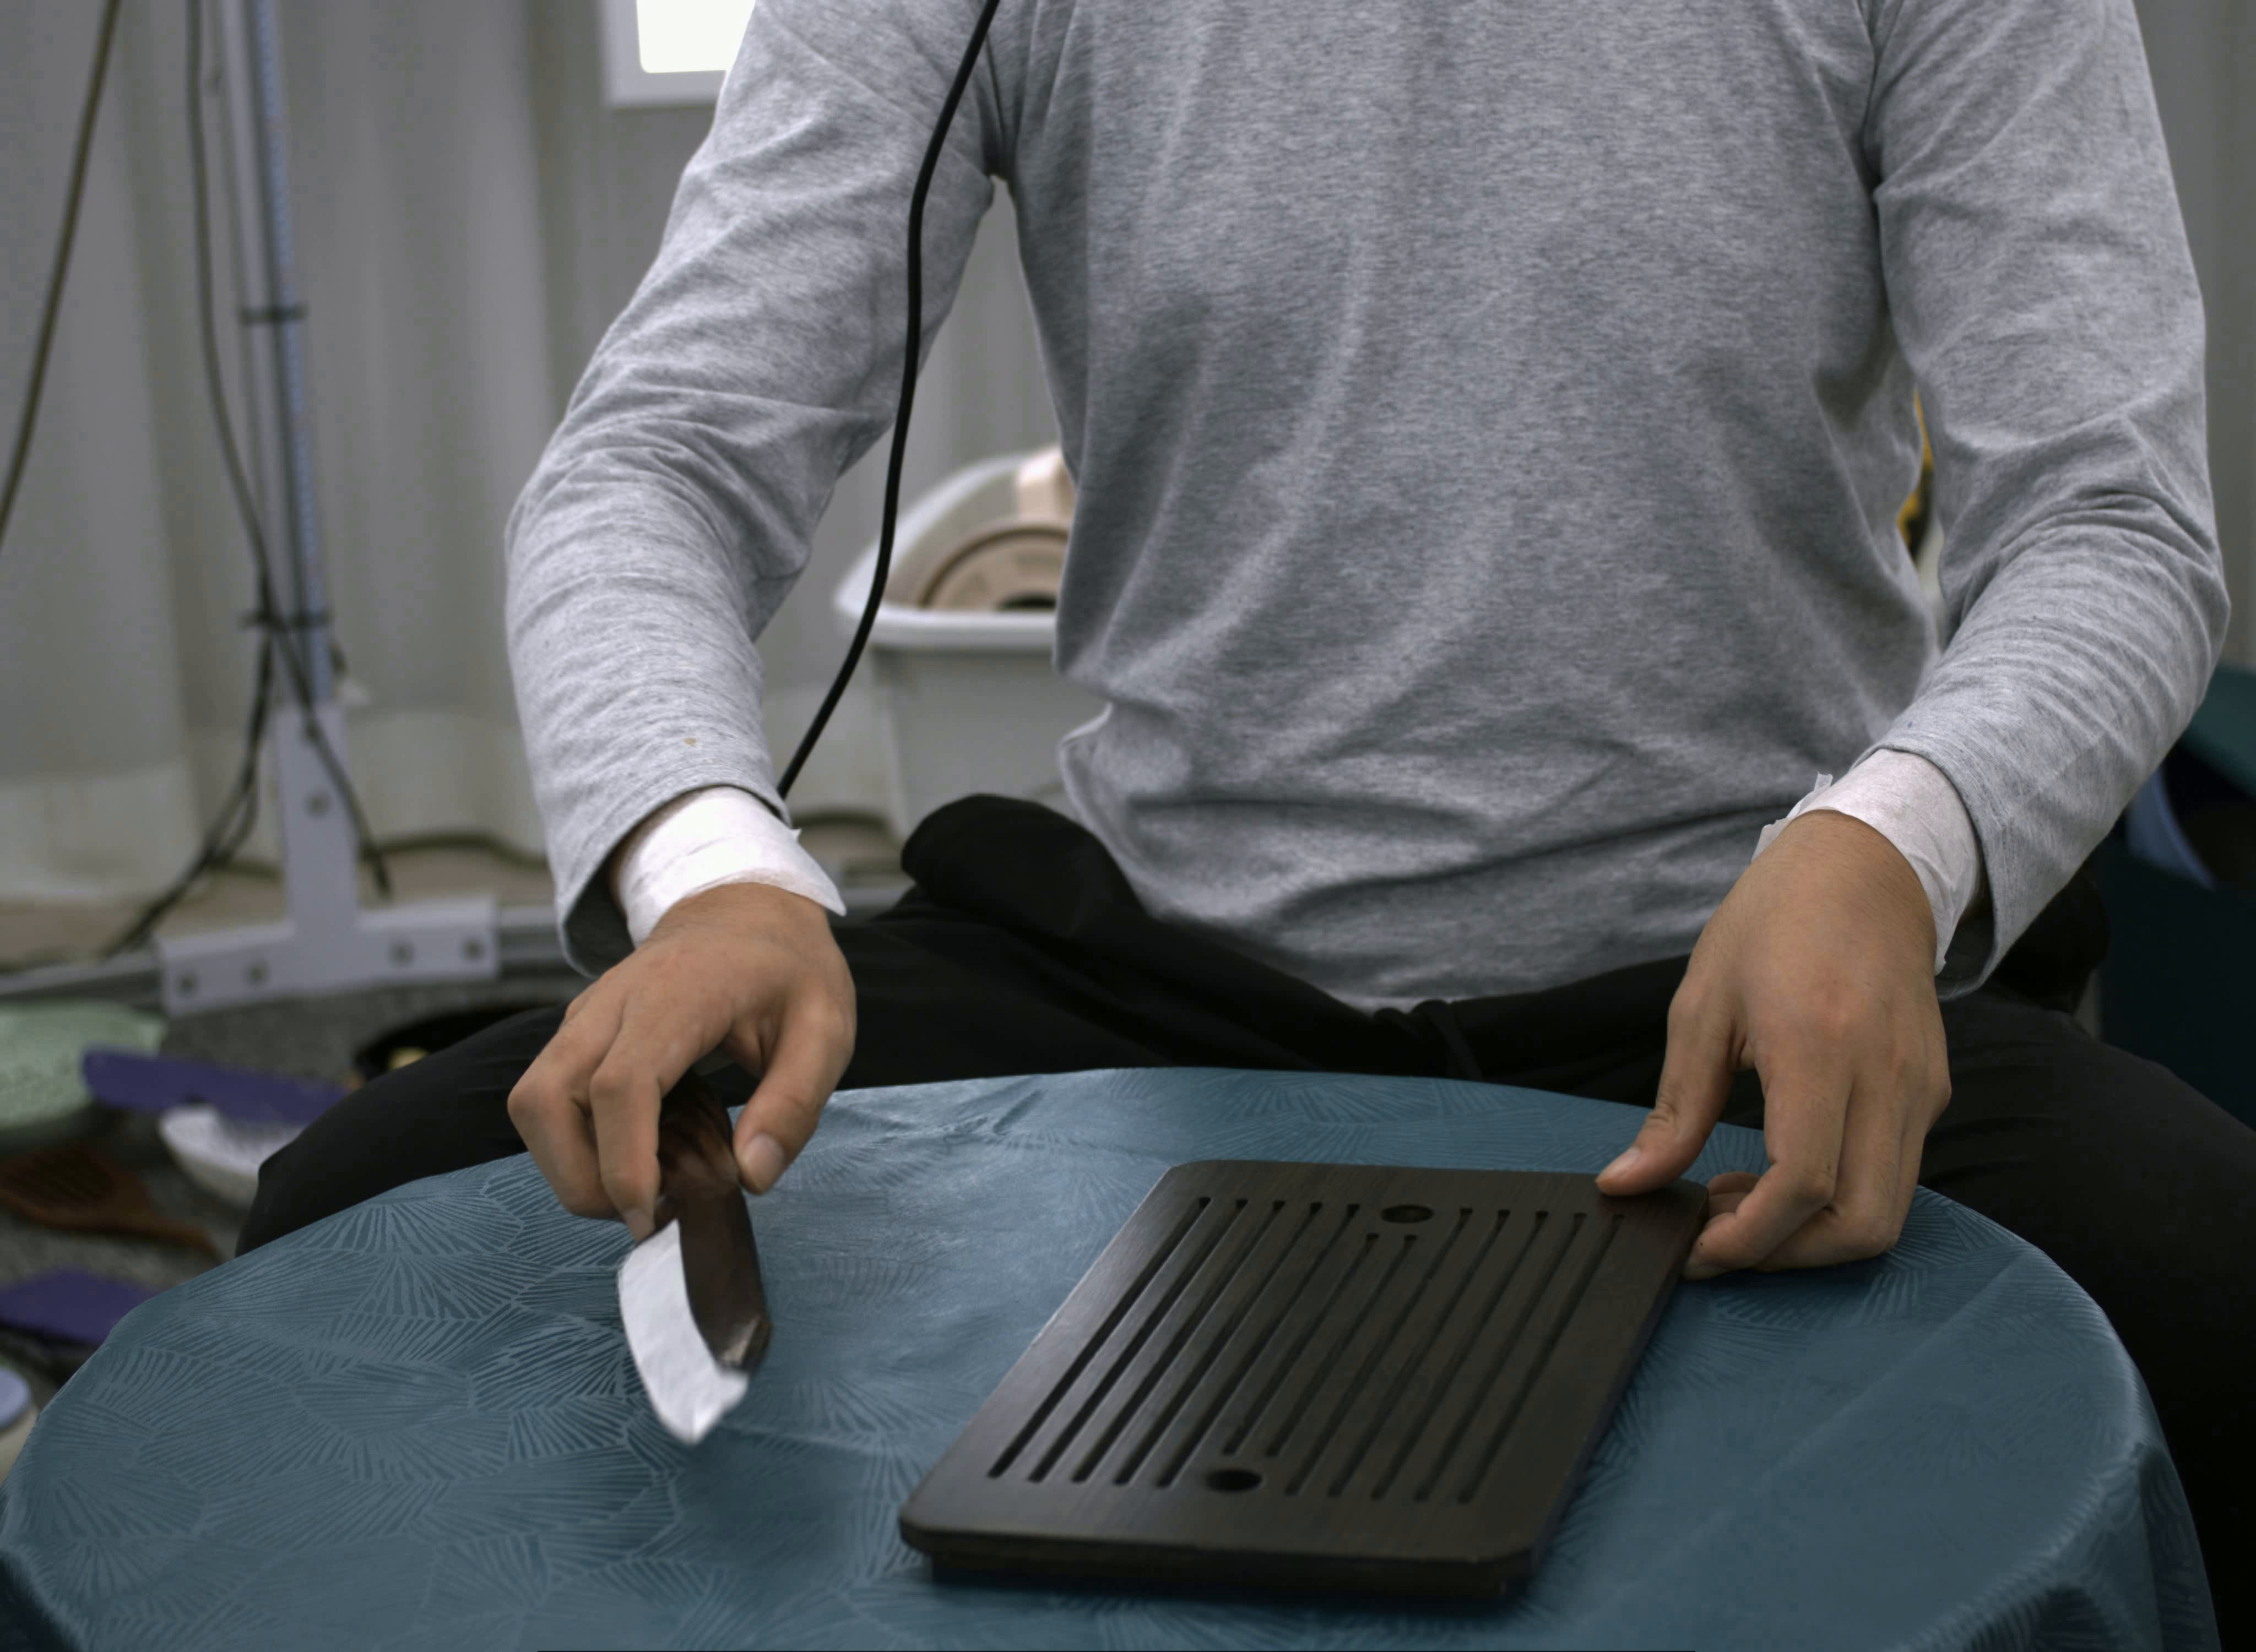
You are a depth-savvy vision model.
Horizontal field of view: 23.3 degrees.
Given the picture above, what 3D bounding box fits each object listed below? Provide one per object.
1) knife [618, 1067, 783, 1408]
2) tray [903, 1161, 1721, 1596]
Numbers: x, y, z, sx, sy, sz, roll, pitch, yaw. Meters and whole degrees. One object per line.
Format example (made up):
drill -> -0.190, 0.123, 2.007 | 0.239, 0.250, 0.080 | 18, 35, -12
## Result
knife -> -0.125, 0.116, 1.554 | 0.050, 0.020, 0.291 | -36, 15, 2
tray -> 0.060, 0.152, 1.533 | 0.170, 0.018, 0.307 | 1, 15, 16
